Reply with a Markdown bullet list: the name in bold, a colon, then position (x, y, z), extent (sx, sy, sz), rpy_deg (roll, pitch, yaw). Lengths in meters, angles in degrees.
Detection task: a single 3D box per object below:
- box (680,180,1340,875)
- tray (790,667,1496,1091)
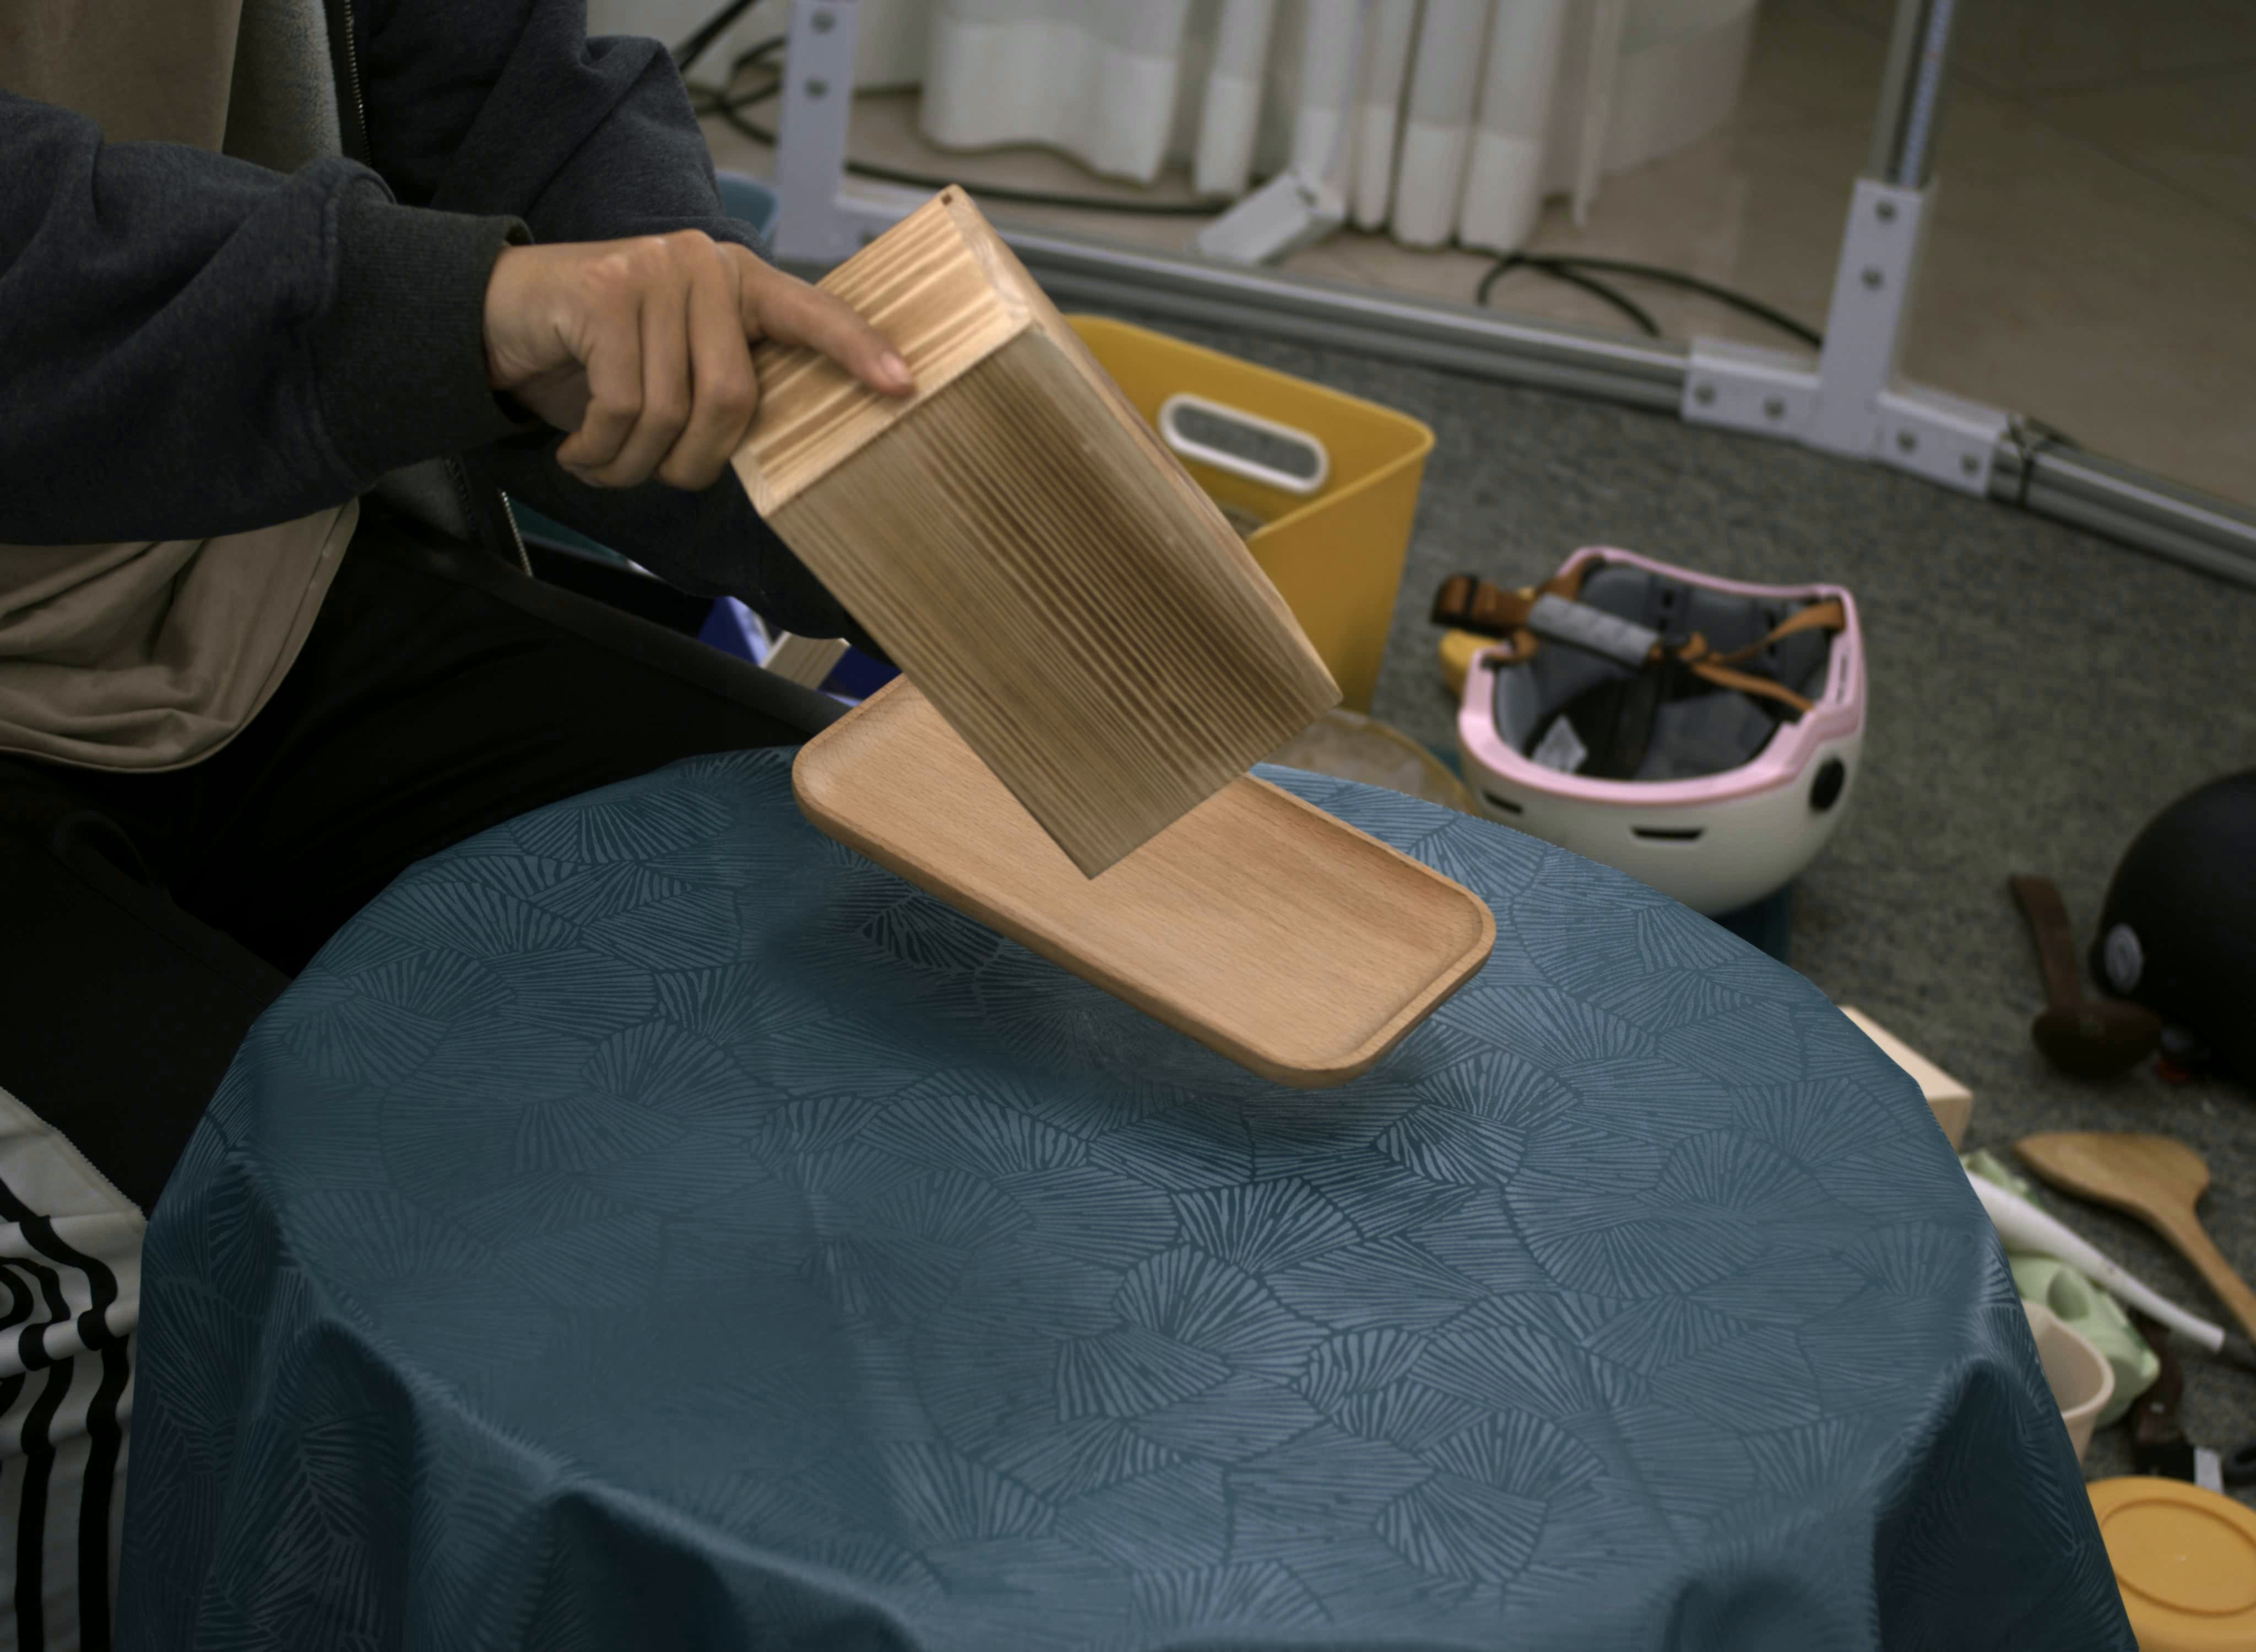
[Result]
- **box**: position (-0.036, -0.093, 1.718), extent (0.107, 0.209, 0.081), rpy_deg (-35, 44, 7)
- **tray**: position (0.004, 0.012, 1.903), extent (0.252, 0.023, 0.130), rpy_deg (28, 41, 25)
